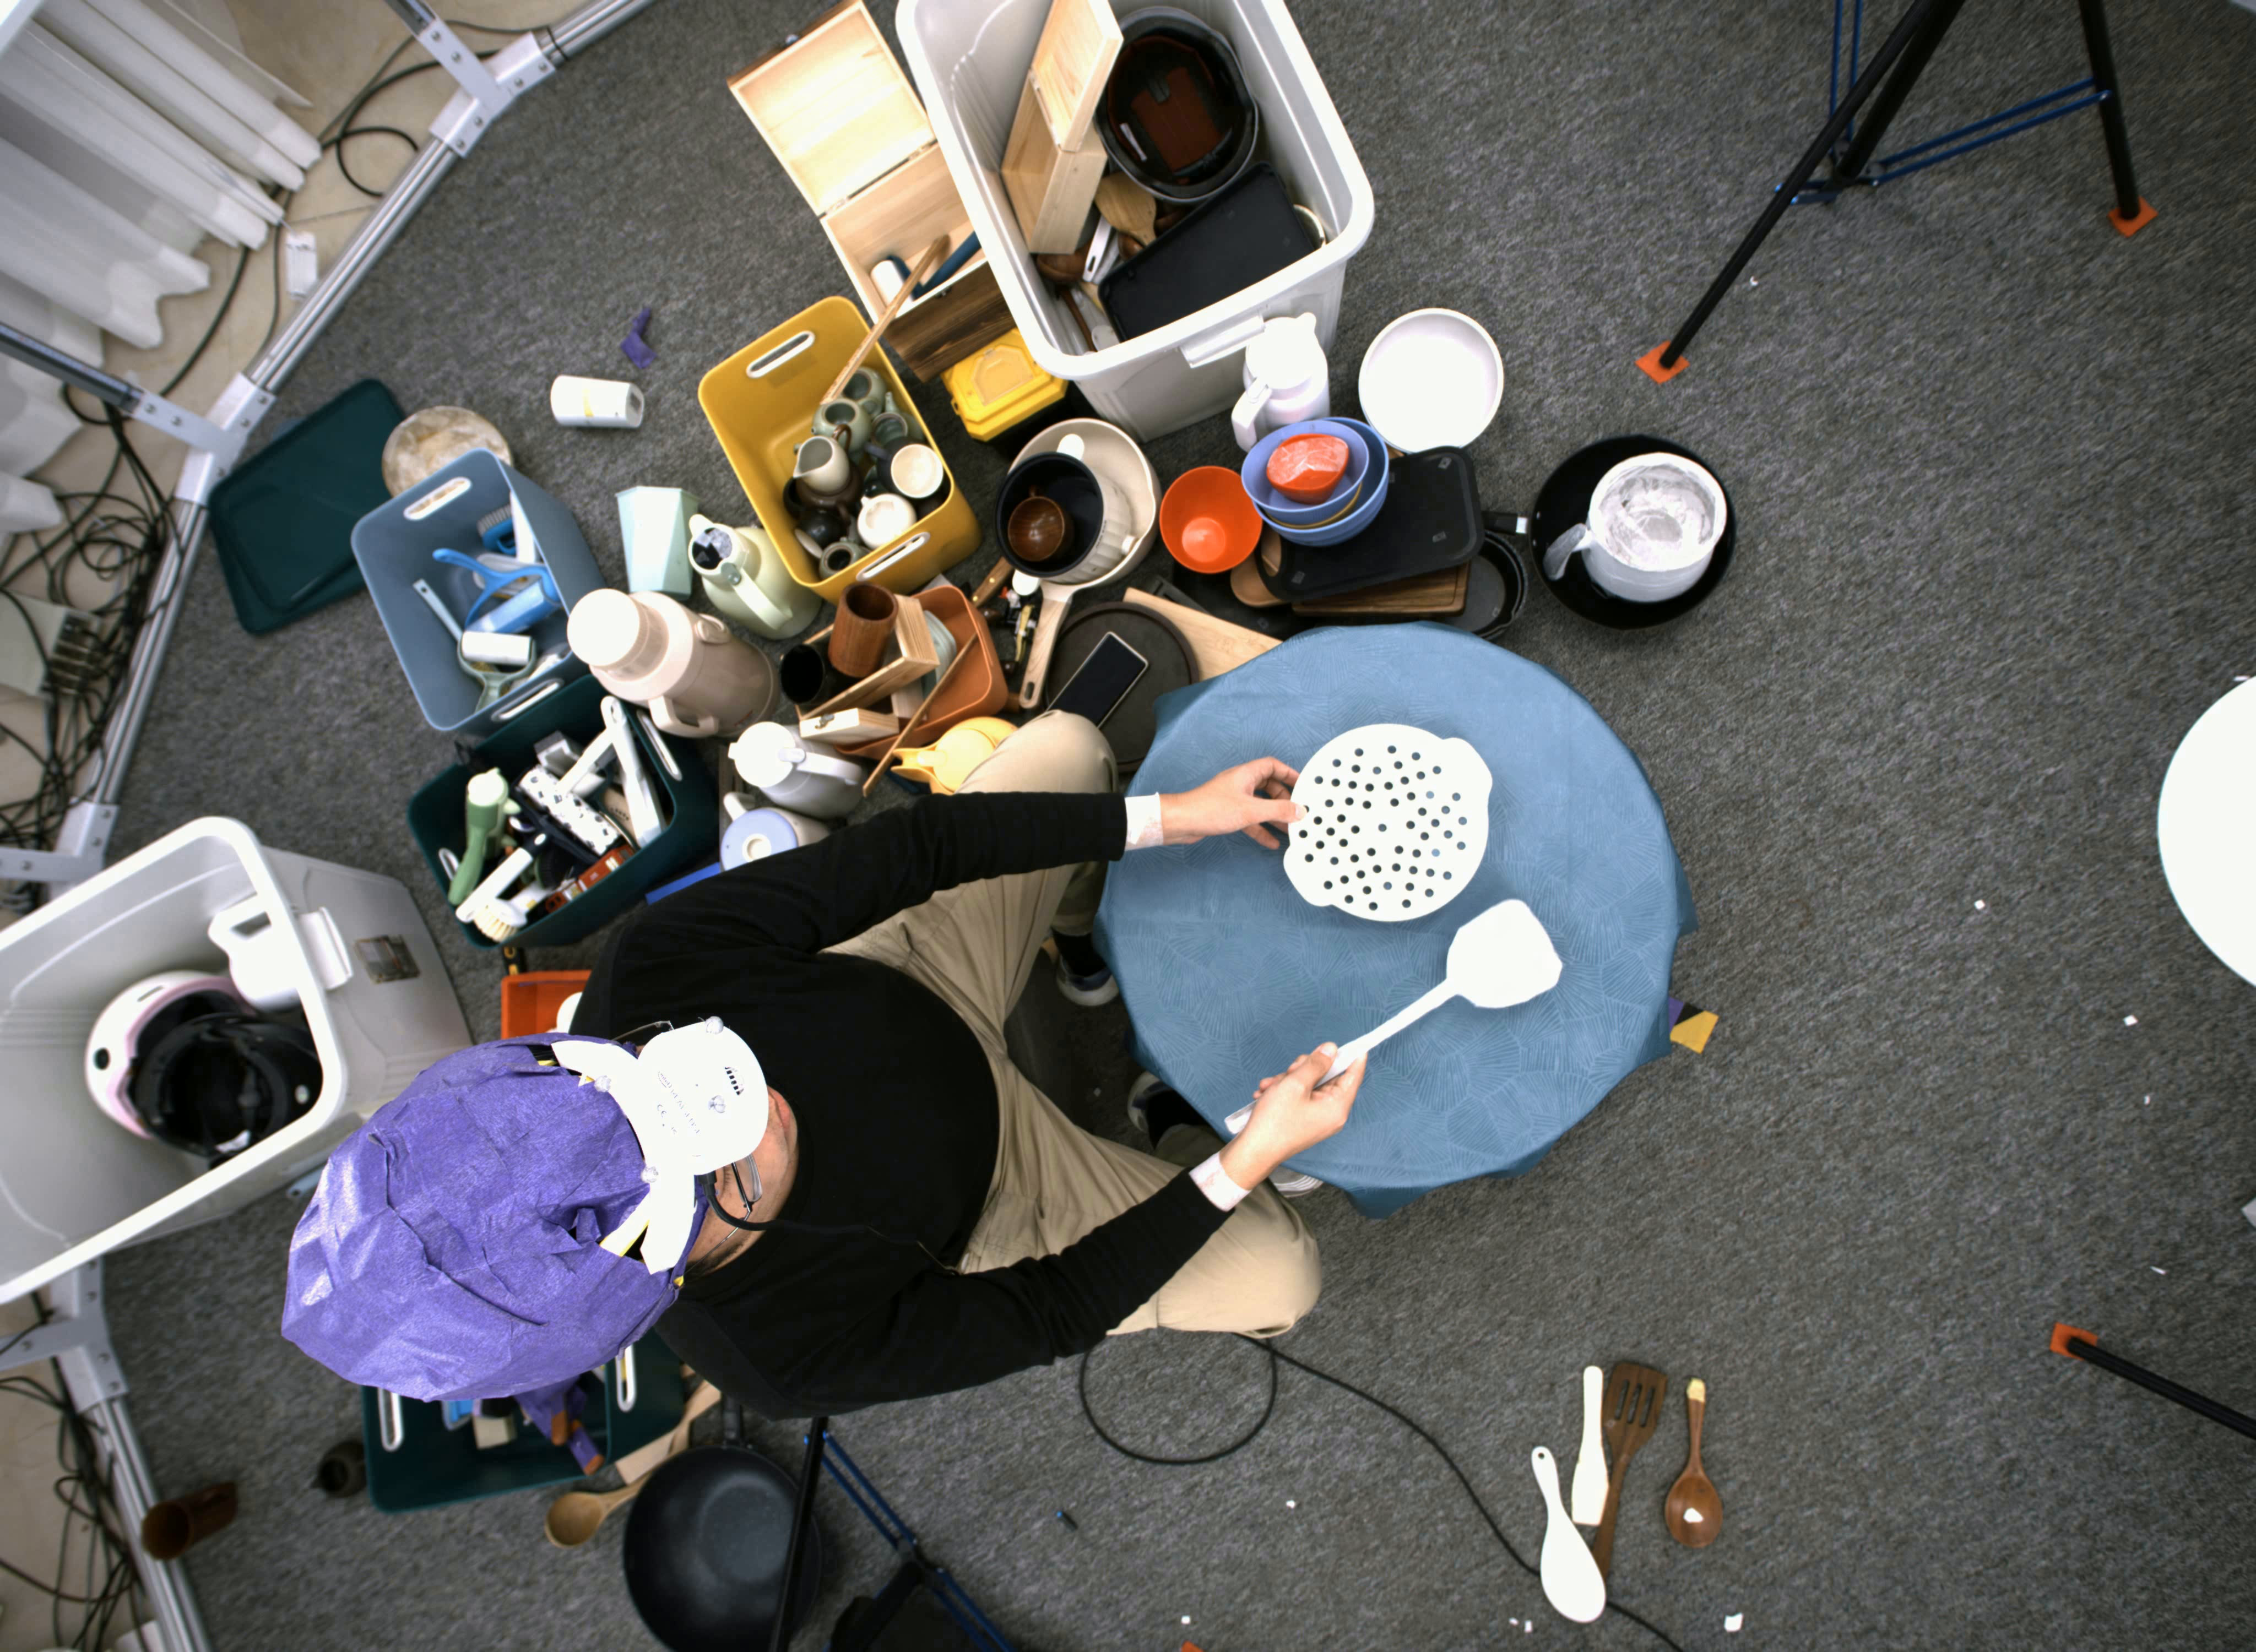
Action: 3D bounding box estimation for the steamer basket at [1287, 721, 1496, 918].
[{"bbox_3d":[0.270,-0.006,1.424,0.231,0.069,0.201,-34,83,4],"label":"steamer basket"}]

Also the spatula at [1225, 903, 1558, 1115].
[{"bbox_3d":[0.258,0.192,1.350,0.362,0.045,0.099,-28,93,-14],"label":"spatula"}]
